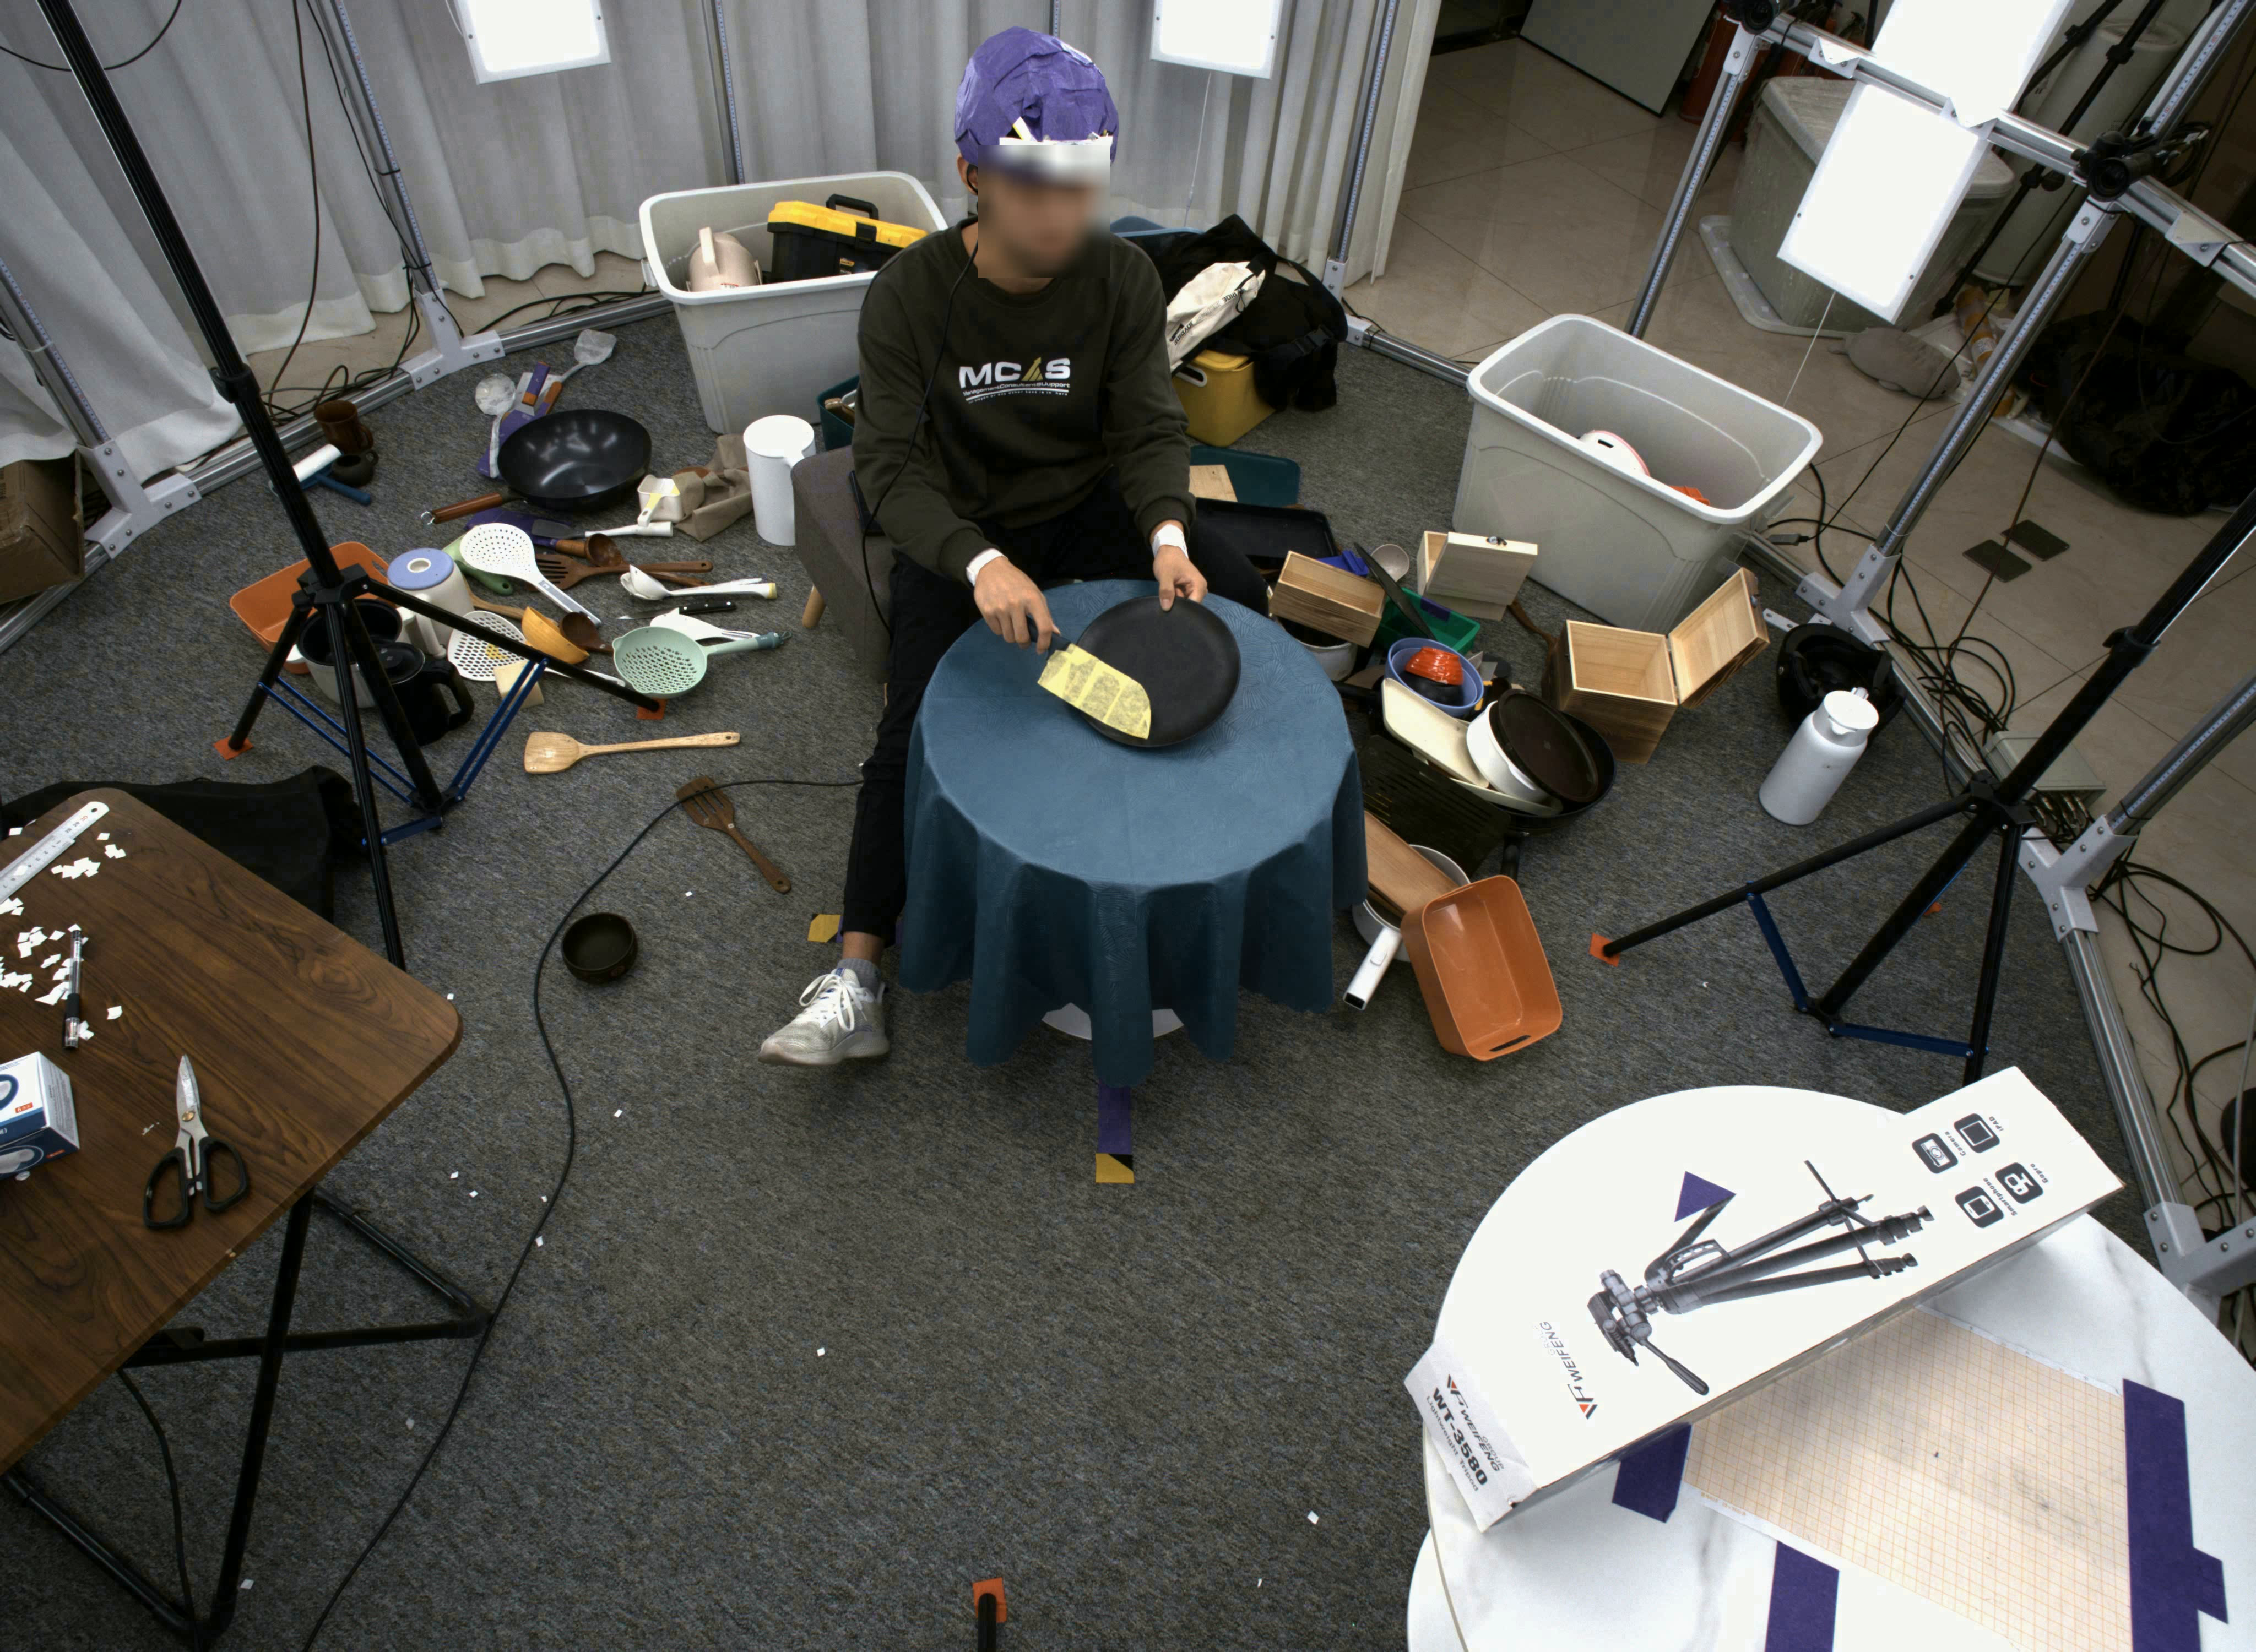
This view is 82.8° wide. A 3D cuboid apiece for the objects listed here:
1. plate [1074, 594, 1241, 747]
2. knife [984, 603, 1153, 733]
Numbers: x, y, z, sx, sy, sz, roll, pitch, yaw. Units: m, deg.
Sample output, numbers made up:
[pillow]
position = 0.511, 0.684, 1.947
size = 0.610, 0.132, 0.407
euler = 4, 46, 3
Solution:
[plate]
position = 0.038, -0.217, 1.805
size = 0.244, 0.023, 0.249
euler = -3, 65, 7
[knife]
position = -0.086, -0.218, 1.776
size = 0.291, 0.027, 0.081
euler = 34, 96, 9
